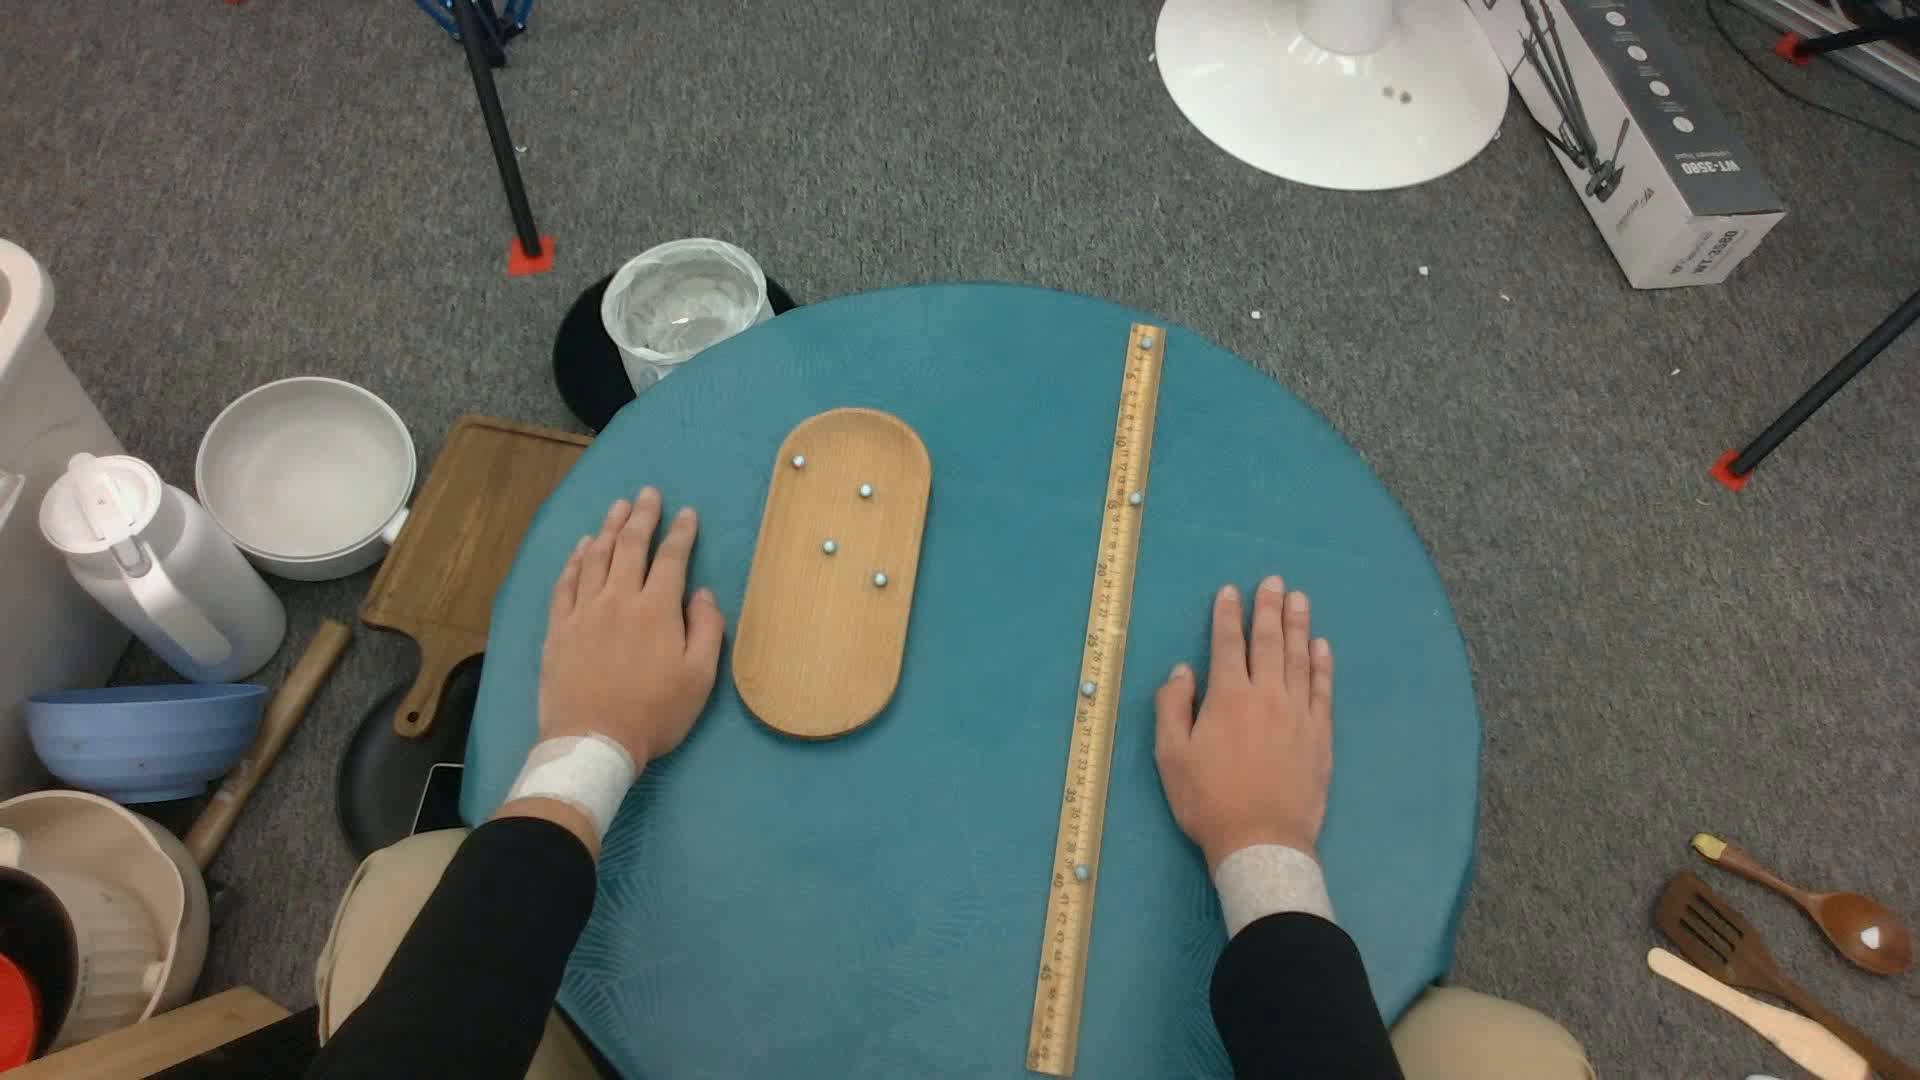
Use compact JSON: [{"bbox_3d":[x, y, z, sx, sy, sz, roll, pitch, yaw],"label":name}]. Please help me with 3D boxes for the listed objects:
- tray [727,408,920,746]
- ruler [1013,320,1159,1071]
[{"bbox_3d":[-0.081,0.017,0.848,0.101,0.020,0.232,5,62,1],"label":"tray"},{"bbox_3d":[0.083,0.061,0.842,0.027,0.006,0.502,10,60,3],"label":"ruler"}]
